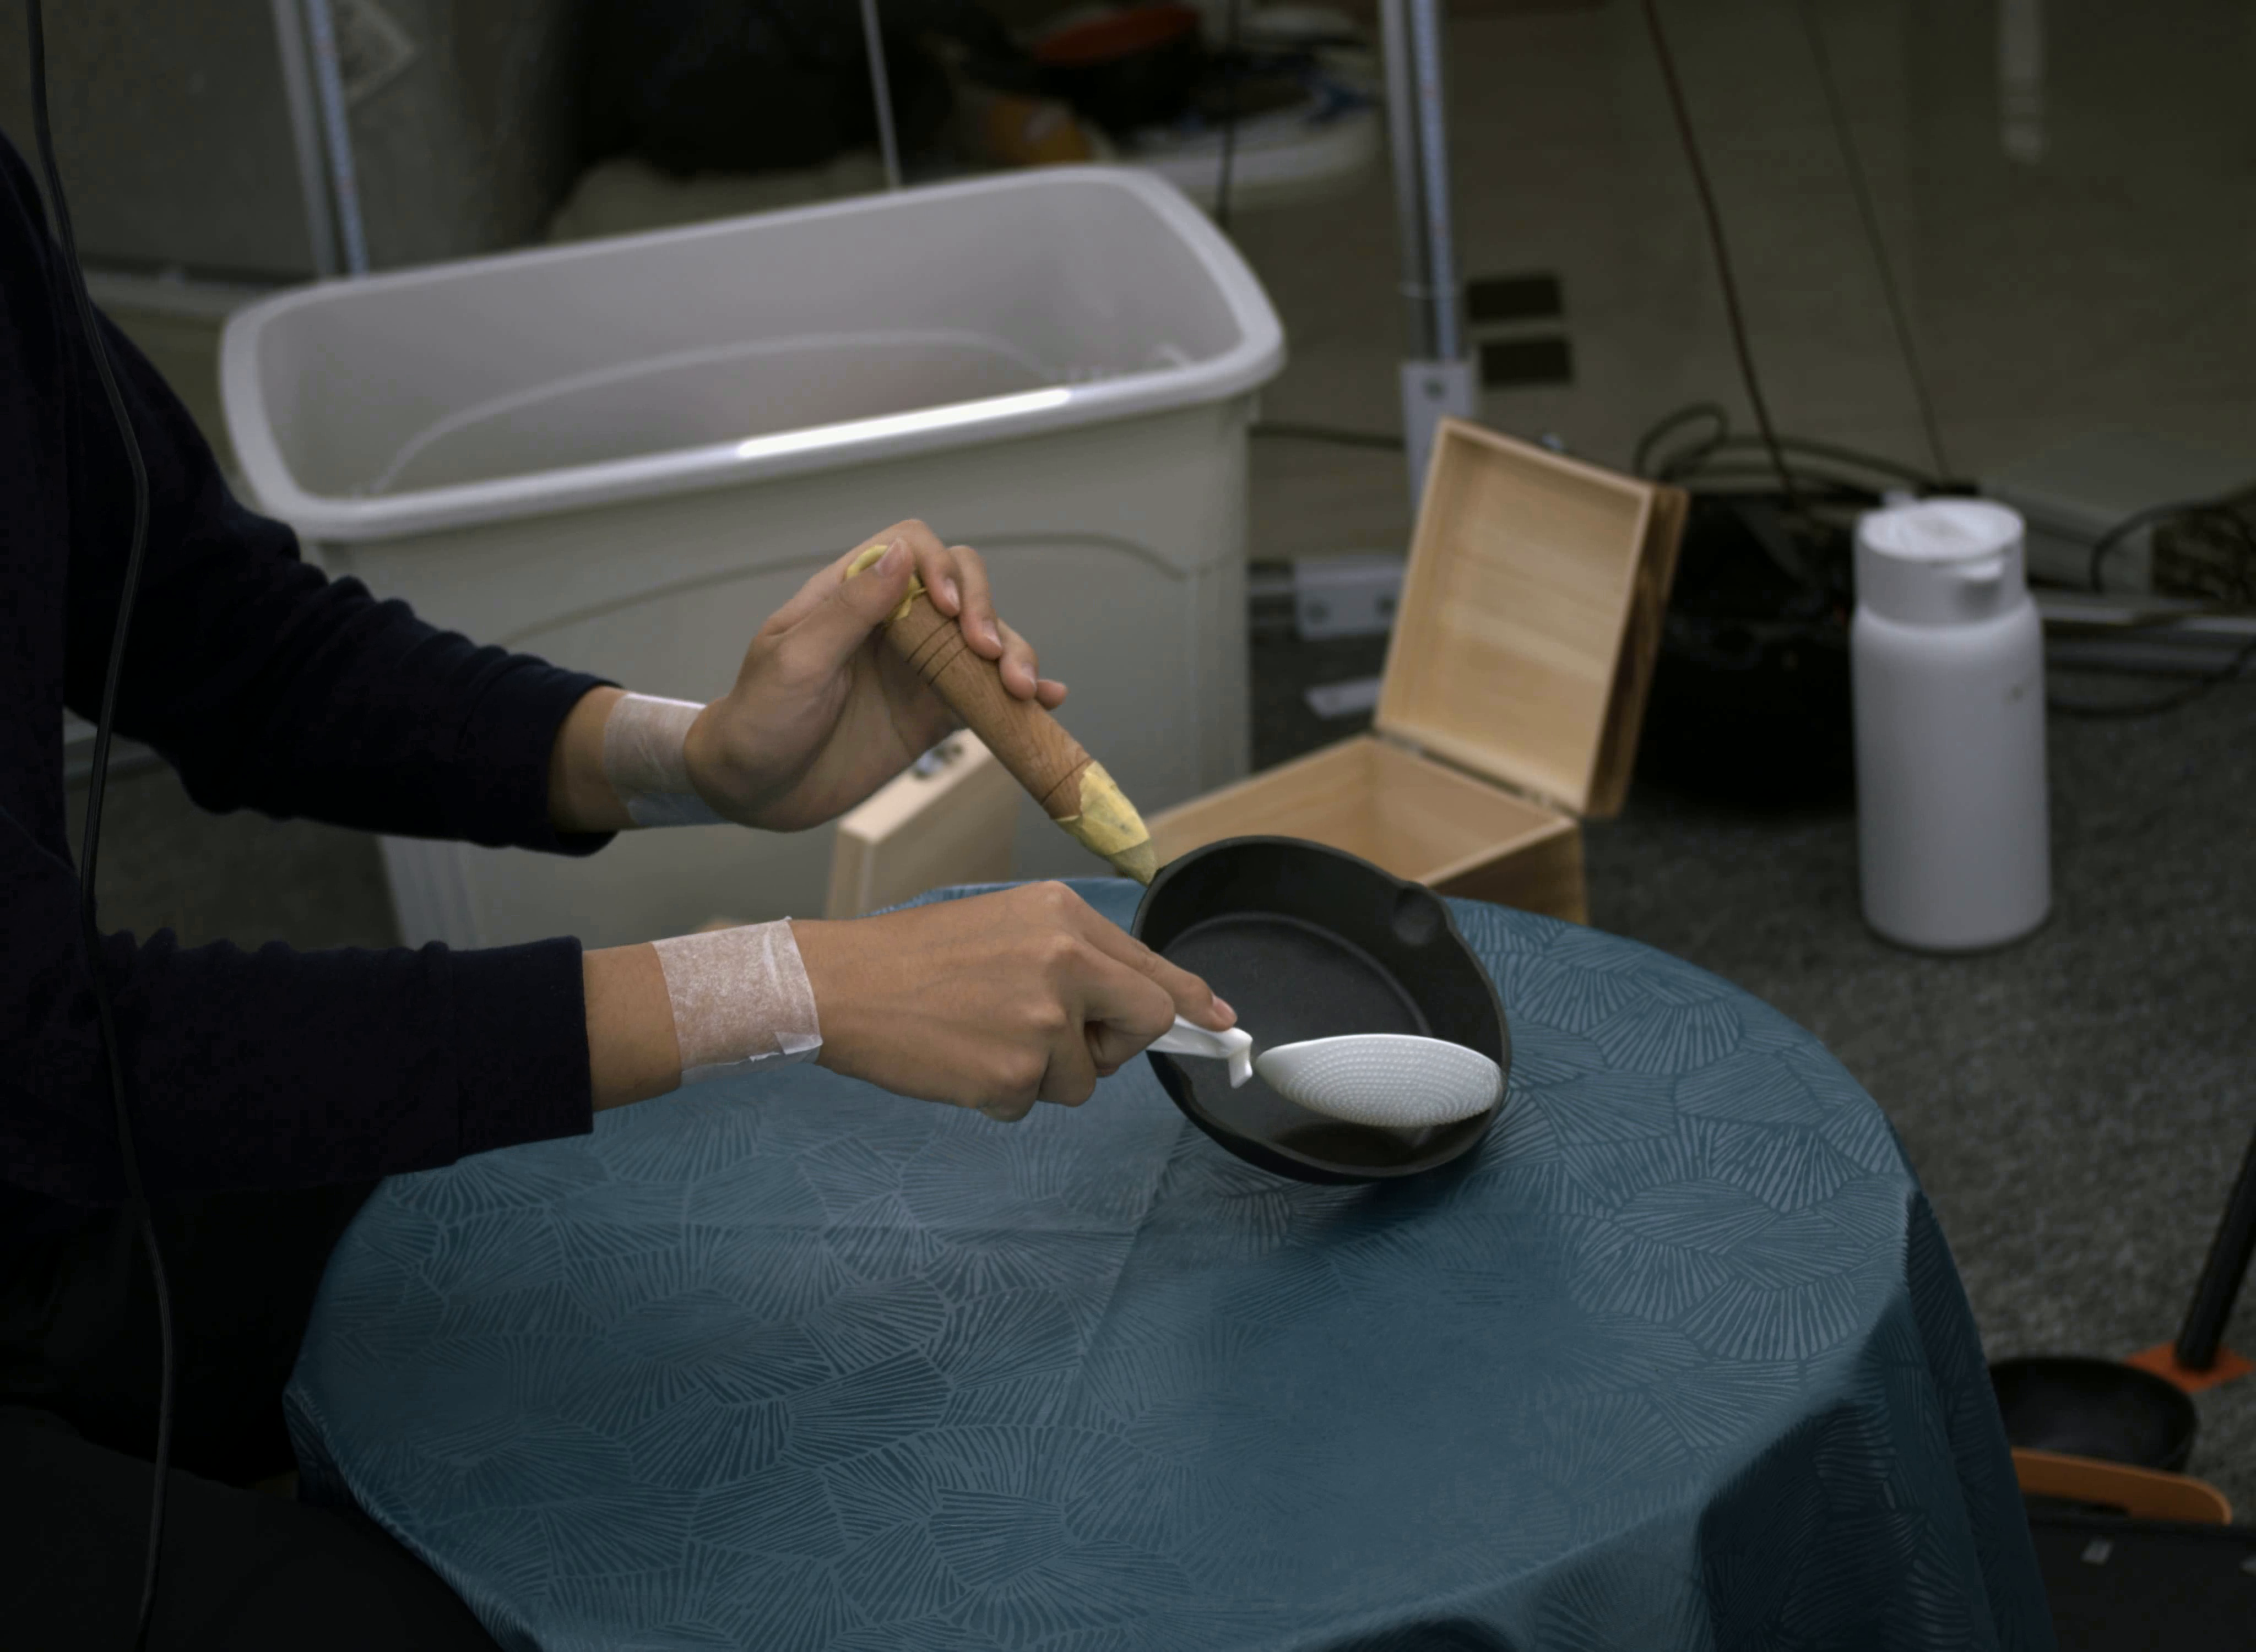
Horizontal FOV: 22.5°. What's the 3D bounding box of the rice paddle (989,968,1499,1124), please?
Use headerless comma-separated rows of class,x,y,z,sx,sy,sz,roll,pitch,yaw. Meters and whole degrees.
rice paddle,0.046,0.084,2.093,0.206,0.069,0.029,11,62,-26

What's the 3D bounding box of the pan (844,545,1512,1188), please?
pan,0.009,0.014,2.154,0.323,0.050,0.167,44,47,8
